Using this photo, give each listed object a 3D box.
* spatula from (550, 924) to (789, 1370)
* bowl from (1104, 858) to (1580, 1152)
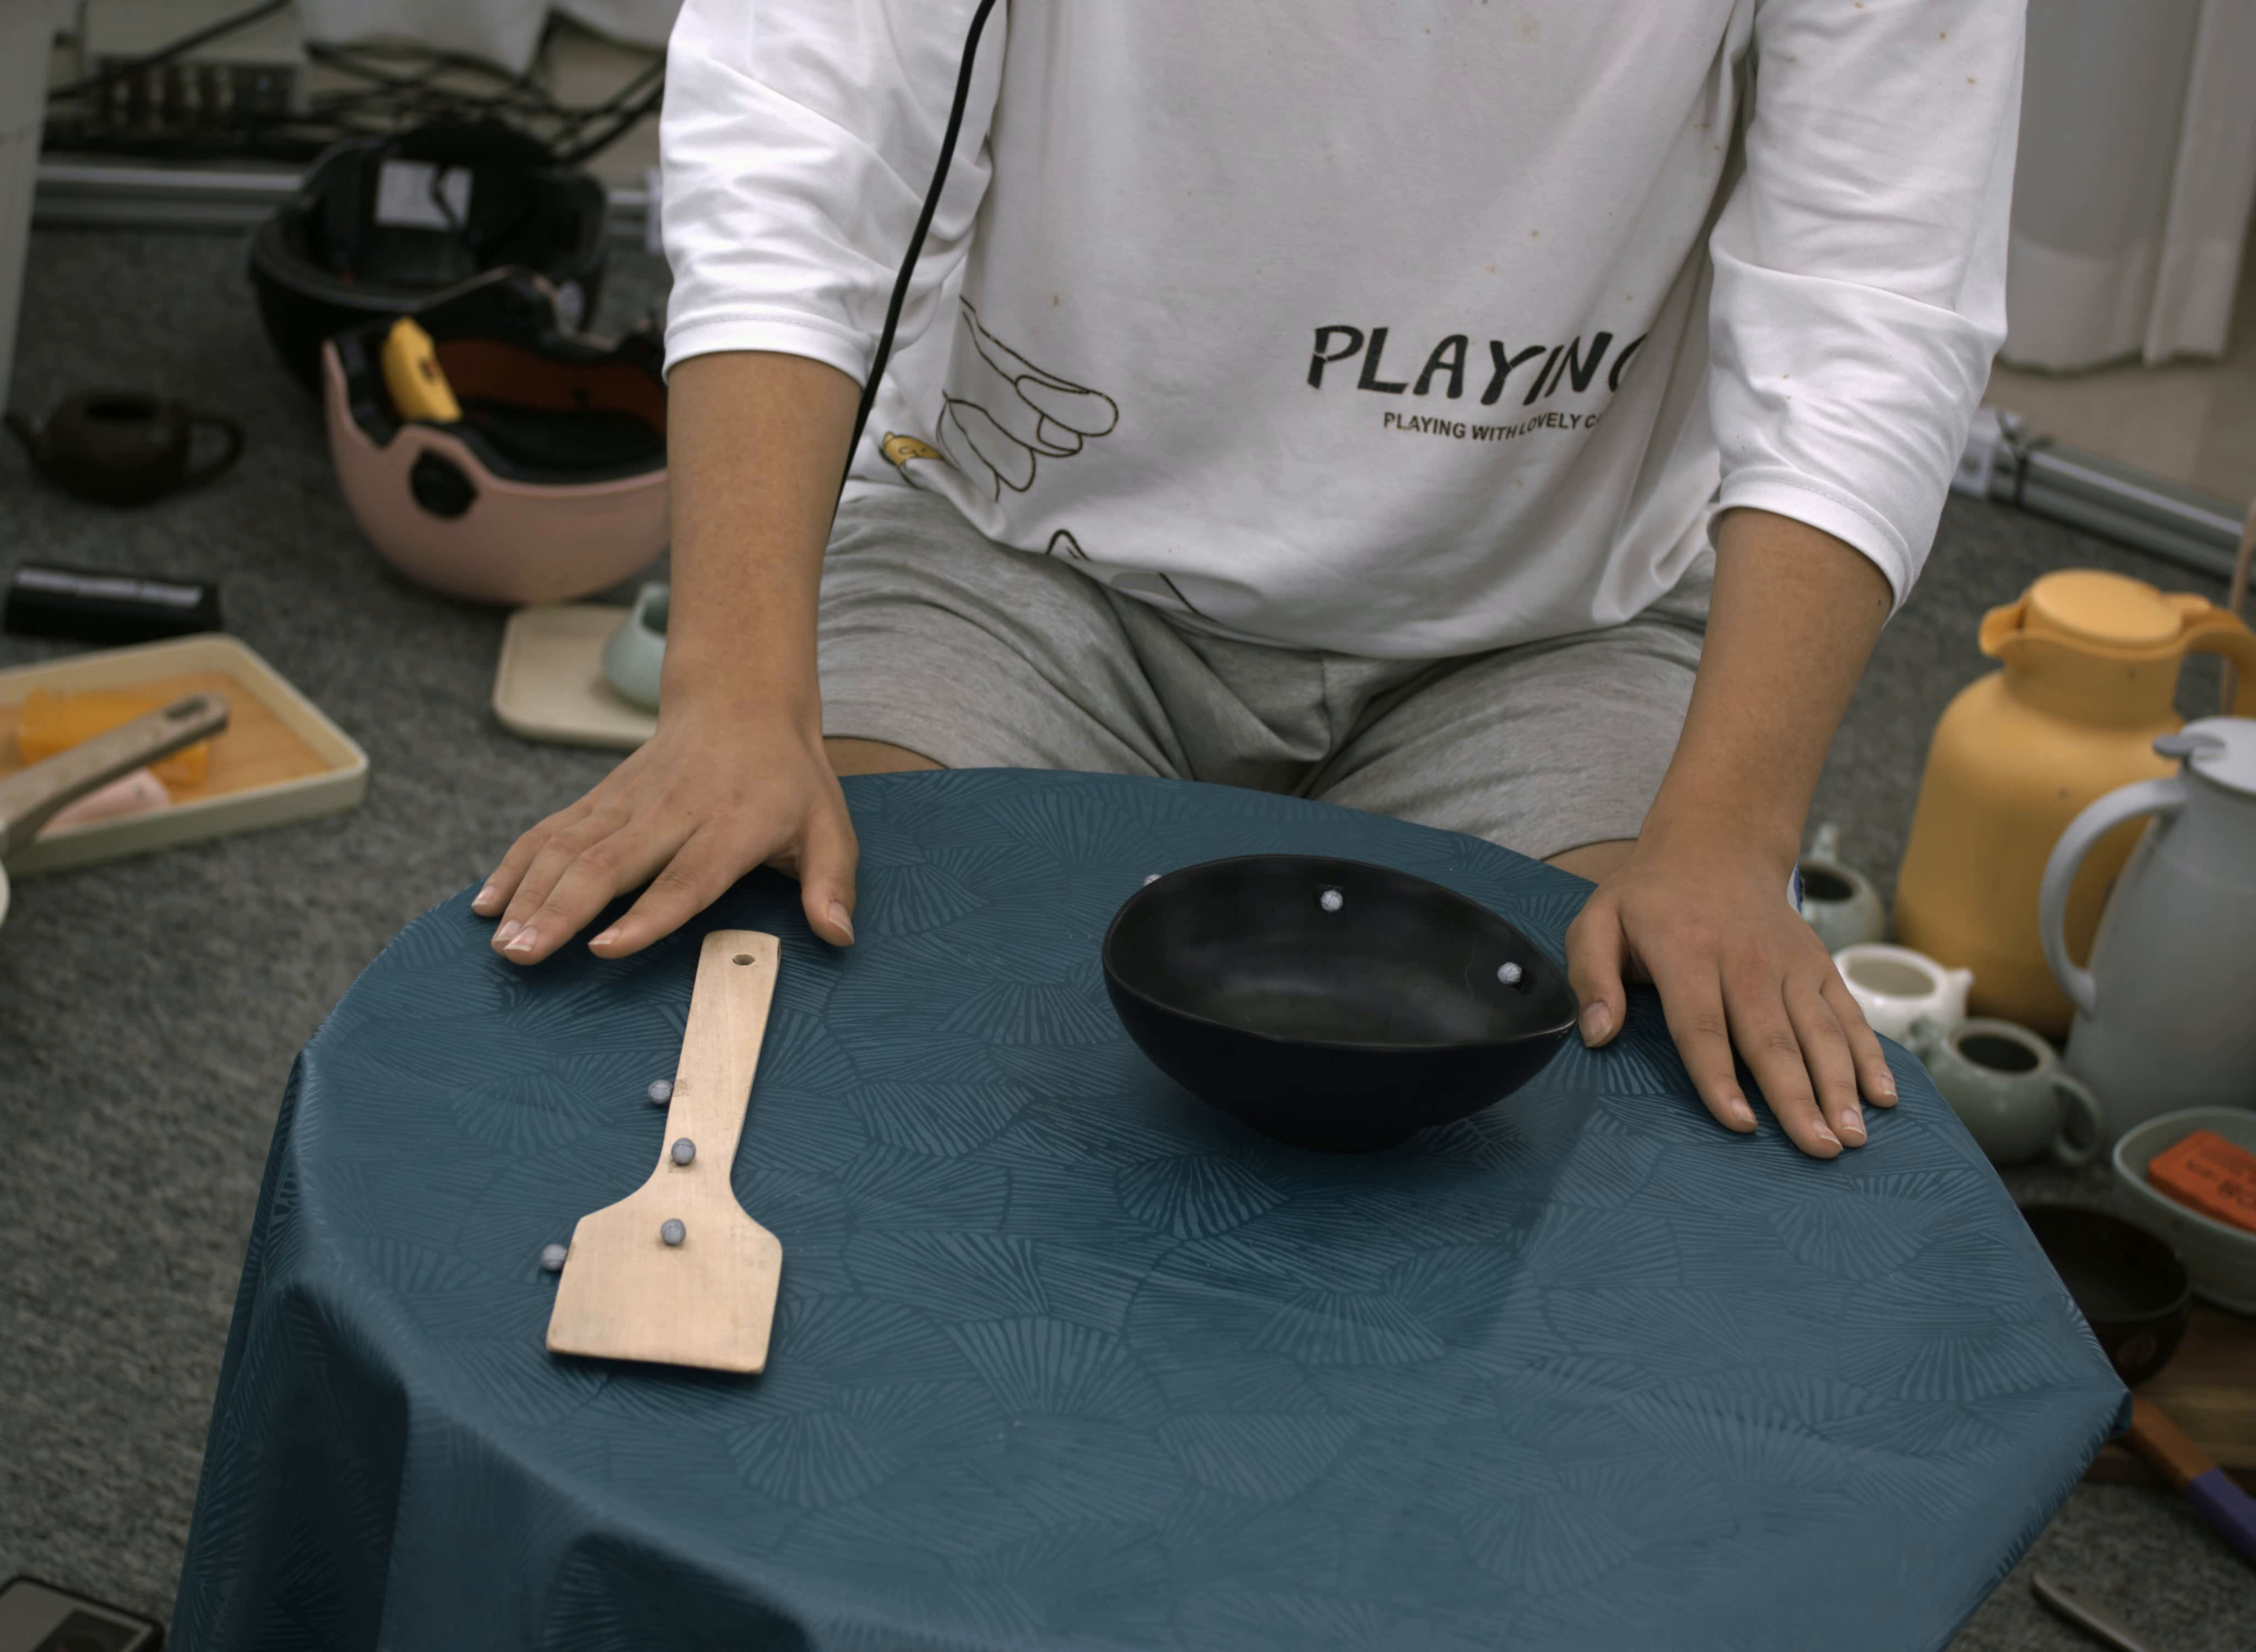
[{"bbox_3d":[-0.143,0.104,1.801,0.072,0.010,0.294,5,27,0],"label":"spatula"},{"bbox_3d":[0.071,0.069,1.860,0.169,0.066,0.138,3,26,-12],"label":"bowl"}]
